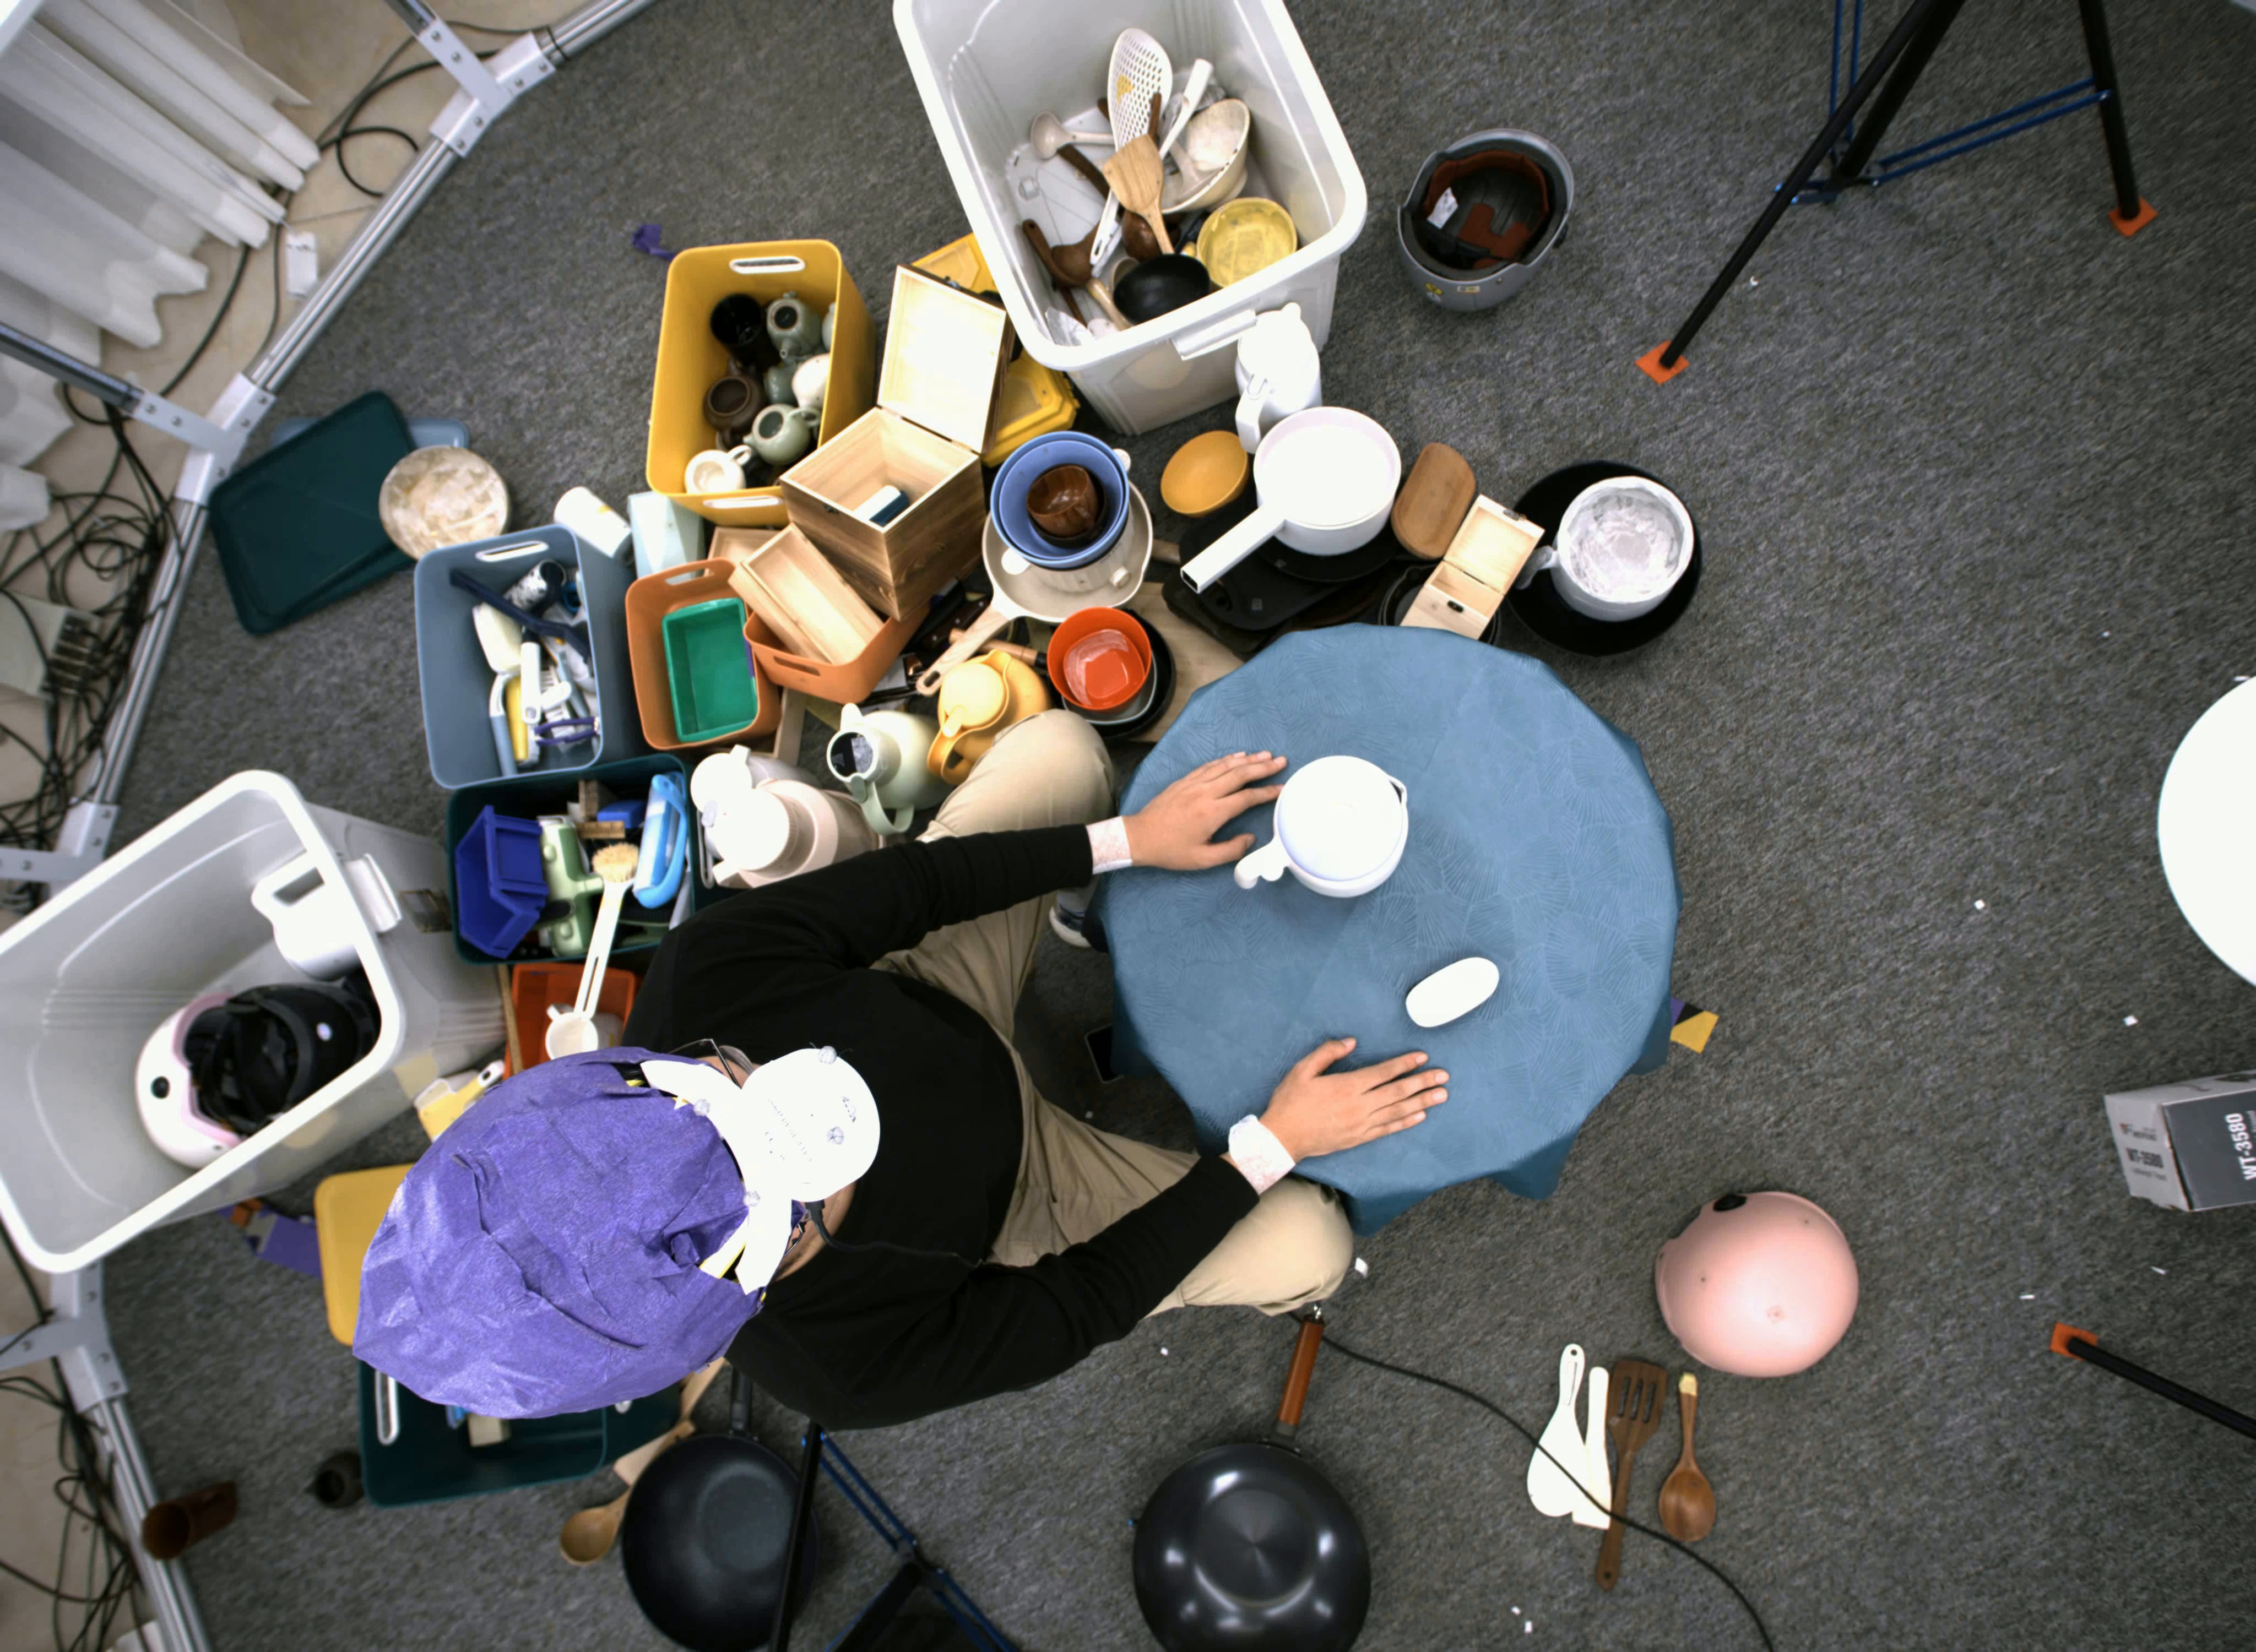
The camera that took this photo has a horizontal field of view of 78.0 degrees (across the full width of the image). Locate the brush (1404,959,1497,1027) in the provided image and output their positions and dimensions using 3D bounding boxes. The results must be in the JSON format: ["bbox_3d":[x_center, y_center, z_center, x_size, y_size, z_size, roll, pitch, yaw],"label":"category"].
[{"bbox_3d":[0.329,0.169,1.406,0.100,0.072,0.050,-28,81,7],"label":"brush"}]

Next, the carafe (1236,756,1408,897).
[{"bbox_3d":[0.192,0.013,1.391,0.192,0.182,0.131,-29,81,8],"label":"carafe"}]
